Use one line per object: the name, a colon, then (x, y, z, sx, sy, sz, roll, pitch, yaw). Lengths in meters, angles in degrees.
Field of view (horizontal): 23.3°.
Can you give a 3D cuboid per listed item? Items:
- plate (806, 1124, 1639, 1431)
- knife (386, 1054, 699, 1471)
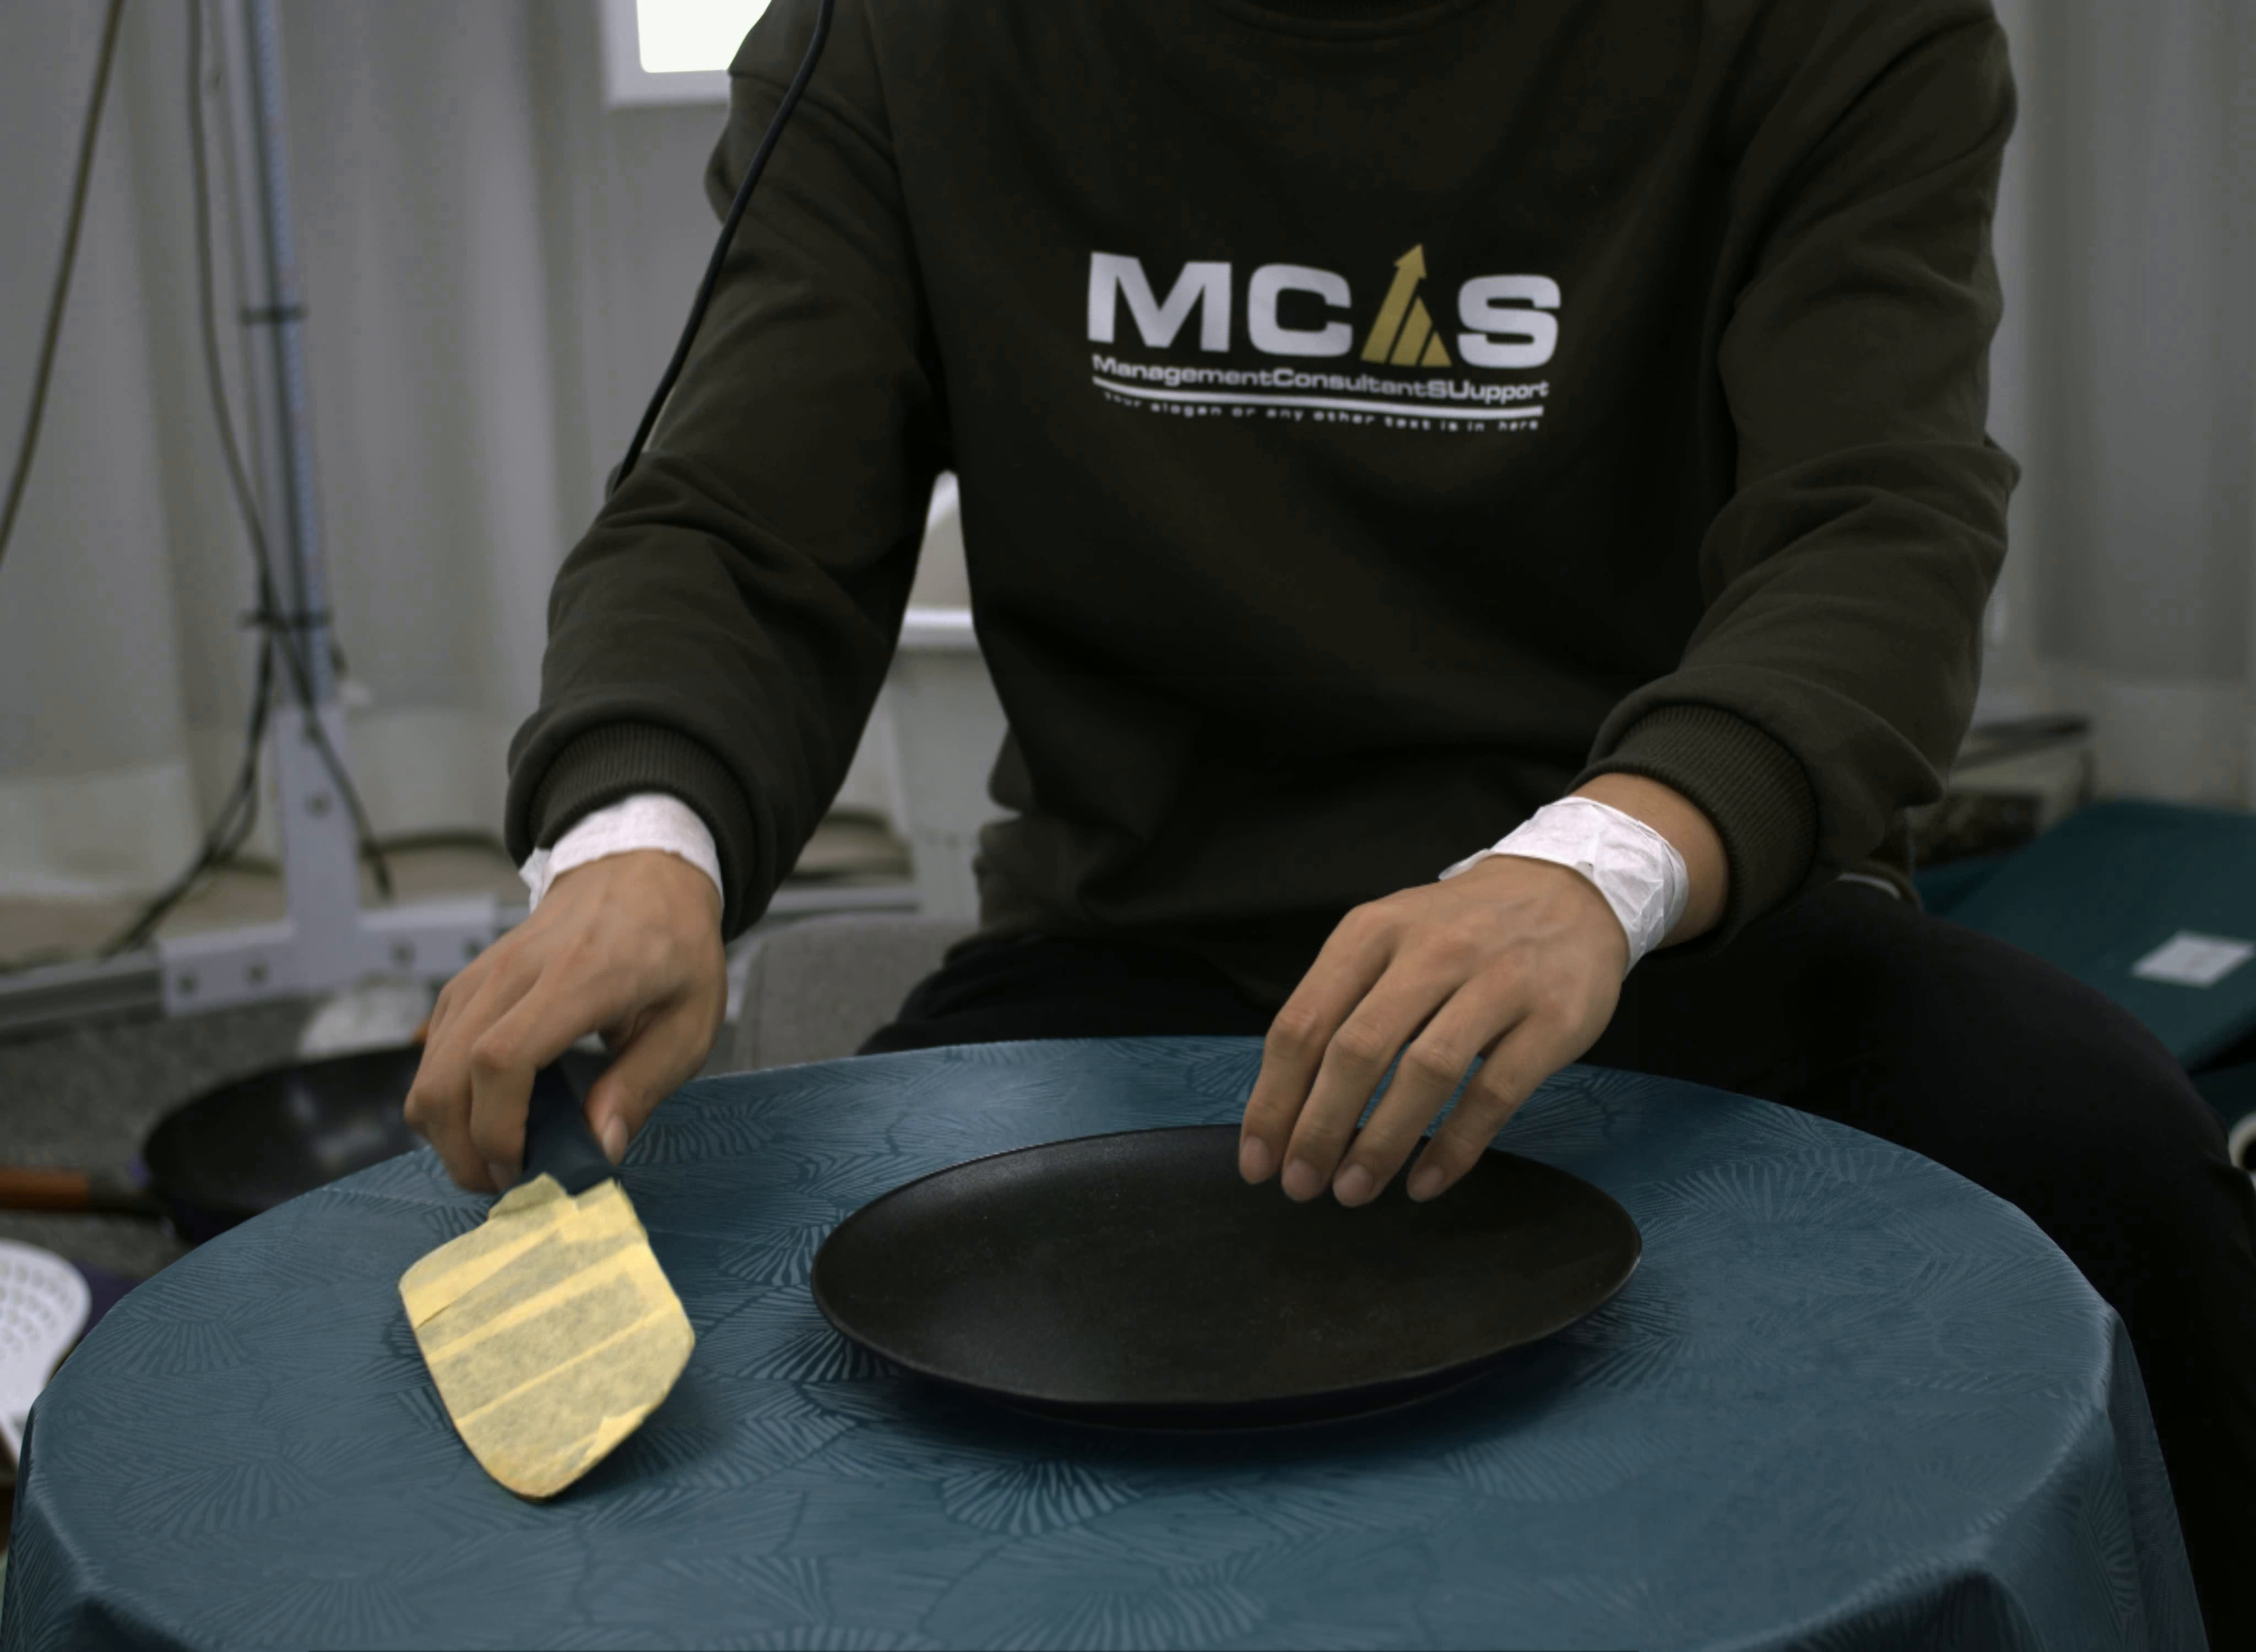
plate: (0.028, 0.134, 1.594, 0.243, 0.023, 0.246, -3, 15, 0)
knife: (-0.180, 0.128, 1.617, 0.081, 0.027, 0.292, -22, 22, -6)
